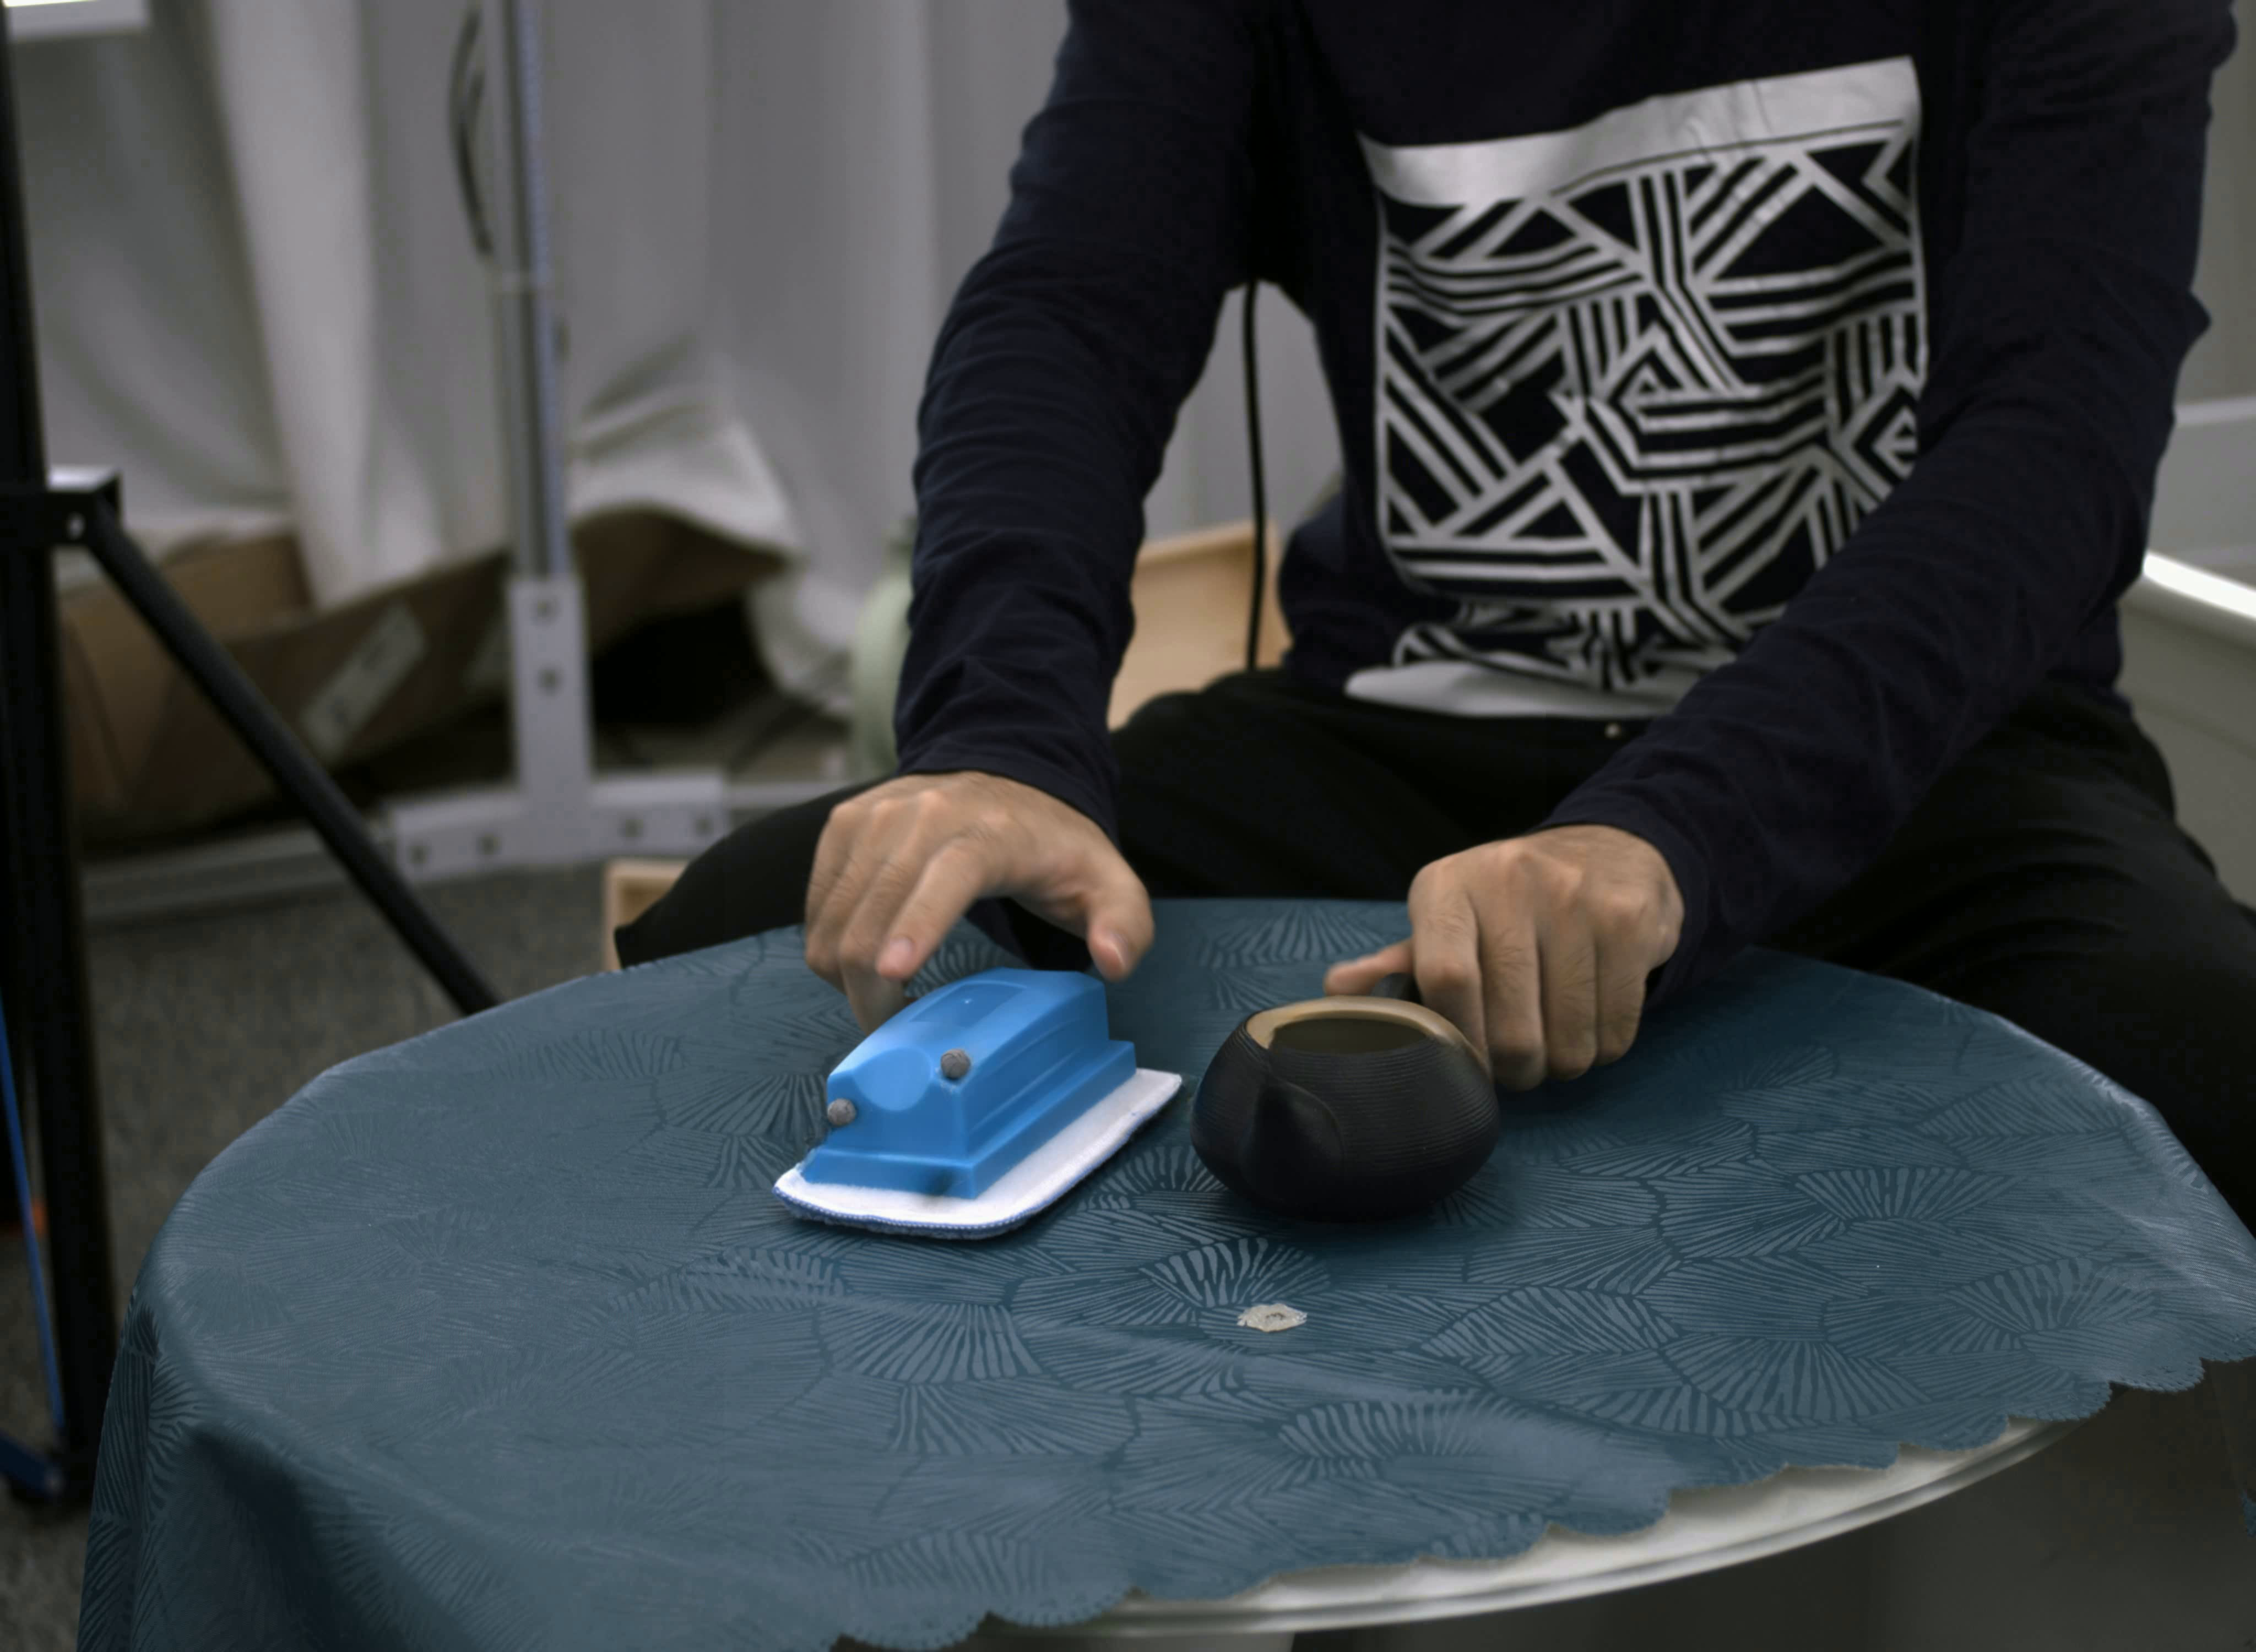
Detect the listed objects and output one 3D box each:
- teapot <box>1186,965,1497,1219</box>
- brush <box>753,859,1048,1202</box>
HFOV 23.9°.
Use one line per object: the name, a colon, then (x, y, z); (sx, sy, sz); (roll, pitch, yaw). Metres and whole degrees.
teapot: (0.063, 0.081, 1.544); (0.092, 0.053, 0.131); (6, 18, 23)
brush: (-0.065, 0.056, 1.585); (0.083, 0.056, 0.145); (7, 29, -1)
